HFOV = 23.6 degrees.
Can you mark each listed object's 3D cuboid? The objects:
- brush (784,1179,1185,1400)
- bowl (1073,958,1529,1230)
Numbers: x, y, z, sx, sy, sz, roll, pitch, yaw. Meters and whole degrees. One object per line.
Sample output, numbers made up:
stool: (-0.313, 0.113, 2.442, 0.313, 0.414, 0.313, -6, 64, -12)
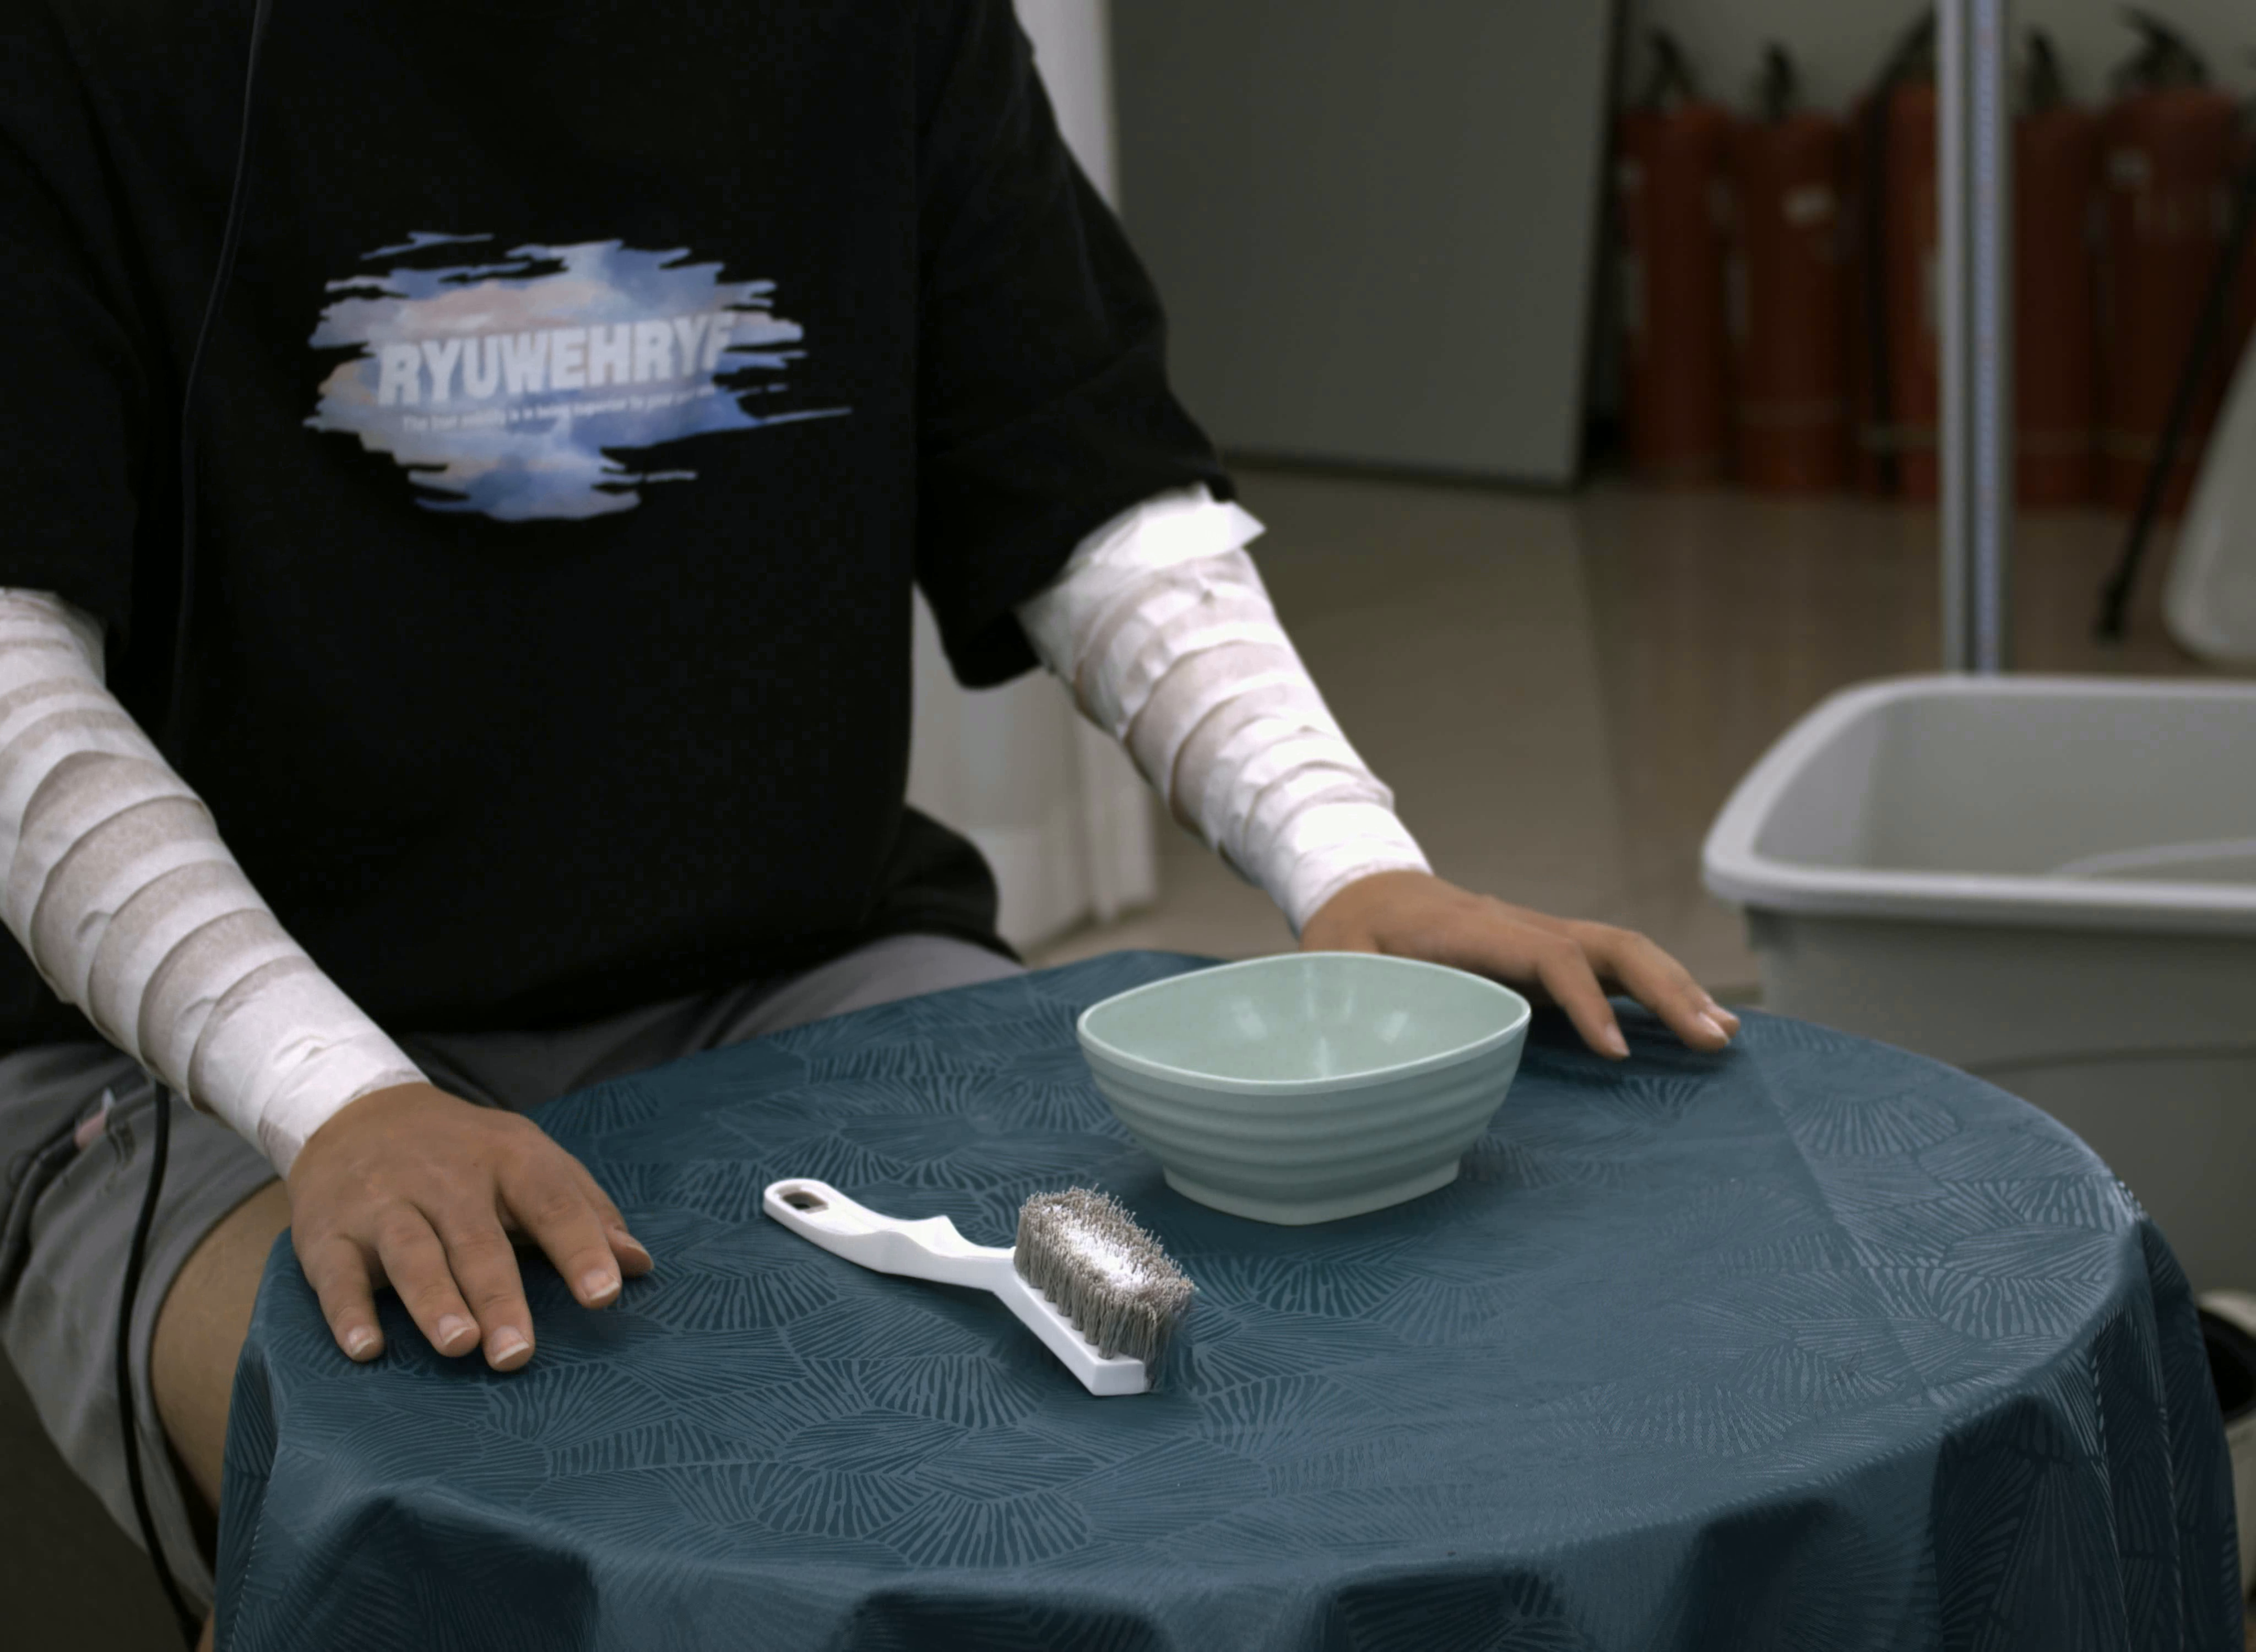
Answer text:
brush: (-0.051, 0.123, 1.673, 0.033, 0.051, 0.246, -12, 16, -26)
bowl: (0.057, 0.090, 1.765, 0.149, 0.059, 0.151, -3, 13, 0)
